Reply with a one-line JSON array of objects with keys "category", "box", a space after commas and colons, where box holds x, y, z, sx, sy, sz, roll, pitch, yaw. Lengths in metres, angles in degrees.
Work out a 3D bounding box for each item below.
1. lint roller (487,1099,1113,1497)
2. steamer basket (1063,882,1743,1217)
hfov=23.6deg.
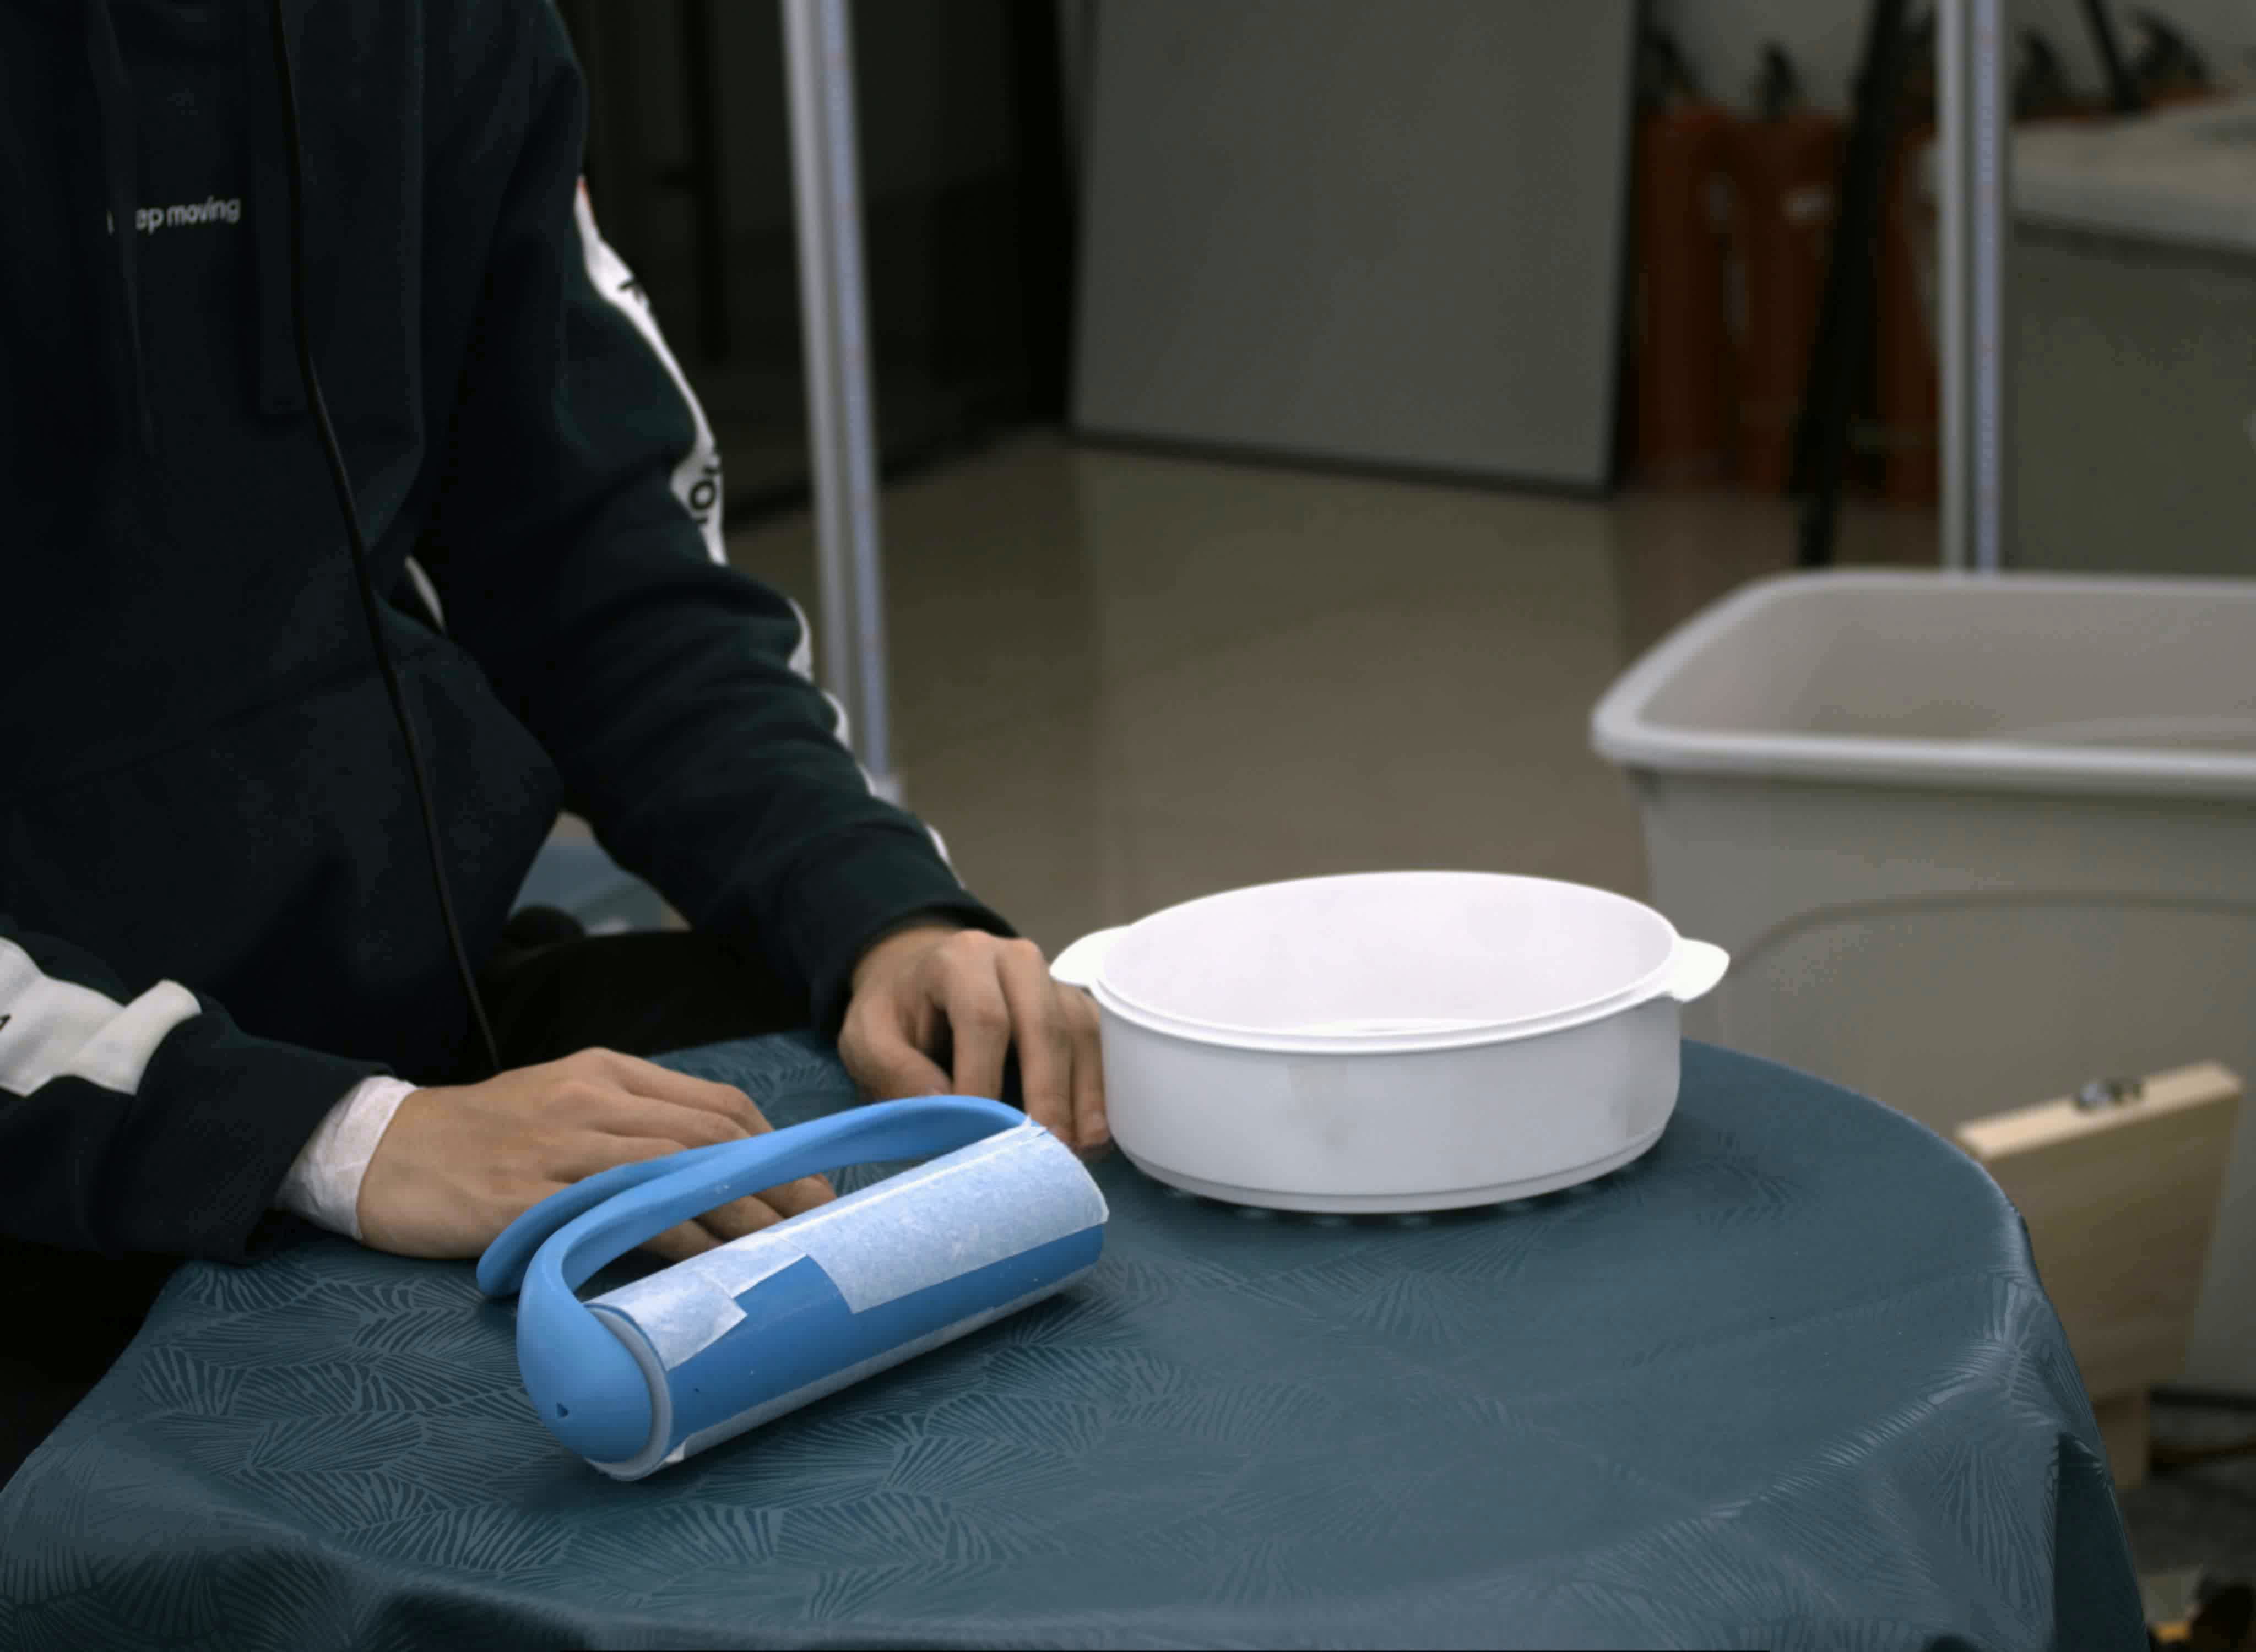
[{"category": "lint roller", "box": [-0.130, 0.135, 1.641, 0.181, 0.068, 0.225, 7, 20, 36]}, {"category": "steamer basket", "box": [0.092, 0.074, 1.794, 0.230, 0.070, 0.200, -1, 13, 19]}]
